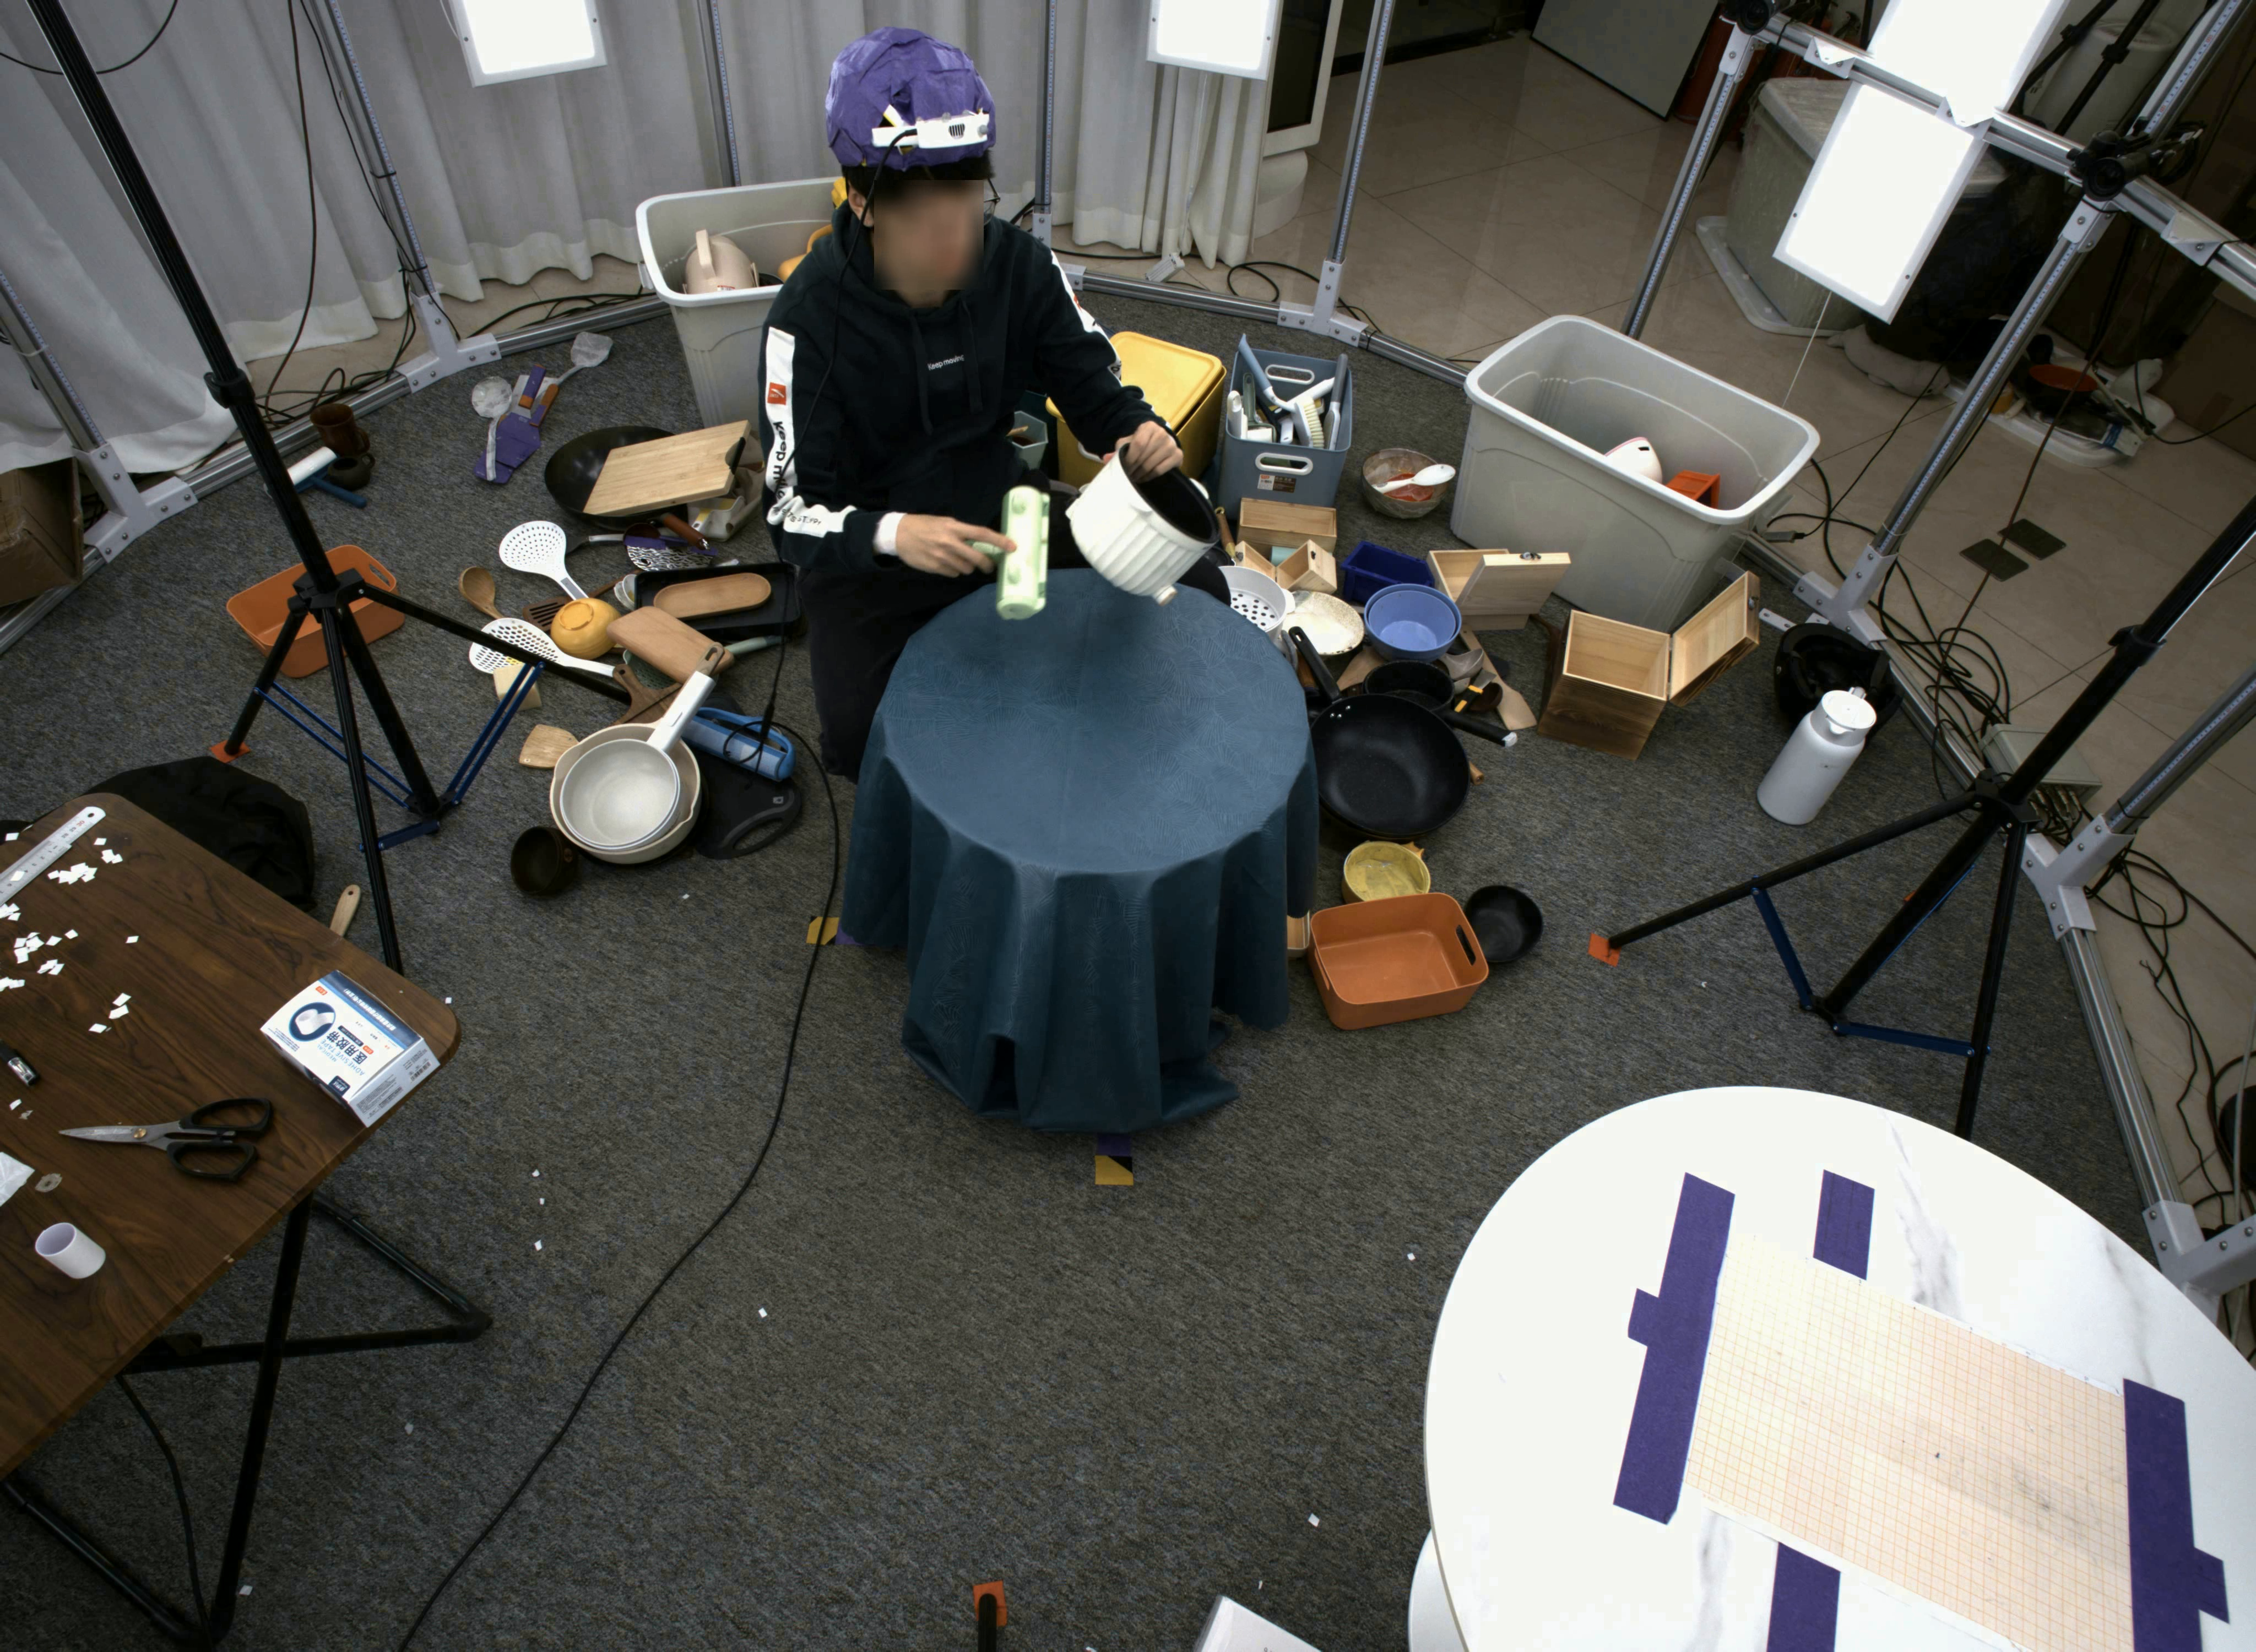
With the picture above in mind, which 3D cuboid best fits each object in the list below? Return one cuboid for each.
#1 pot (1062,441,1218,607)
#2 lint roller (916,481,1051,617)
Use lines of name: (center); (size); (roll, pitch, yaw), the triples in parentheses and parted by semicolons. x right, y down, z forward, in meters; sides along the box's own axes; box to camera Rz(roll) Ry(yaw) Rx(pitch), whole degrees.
pot: (0.017, -0.410, 1.775); (0.191, 0.141, 0.242); (47, 32, 5)
lint roller: (-0.199, -0.389, 1.773); (0.183, 0.081, 0.202); (3, 66, -5)
